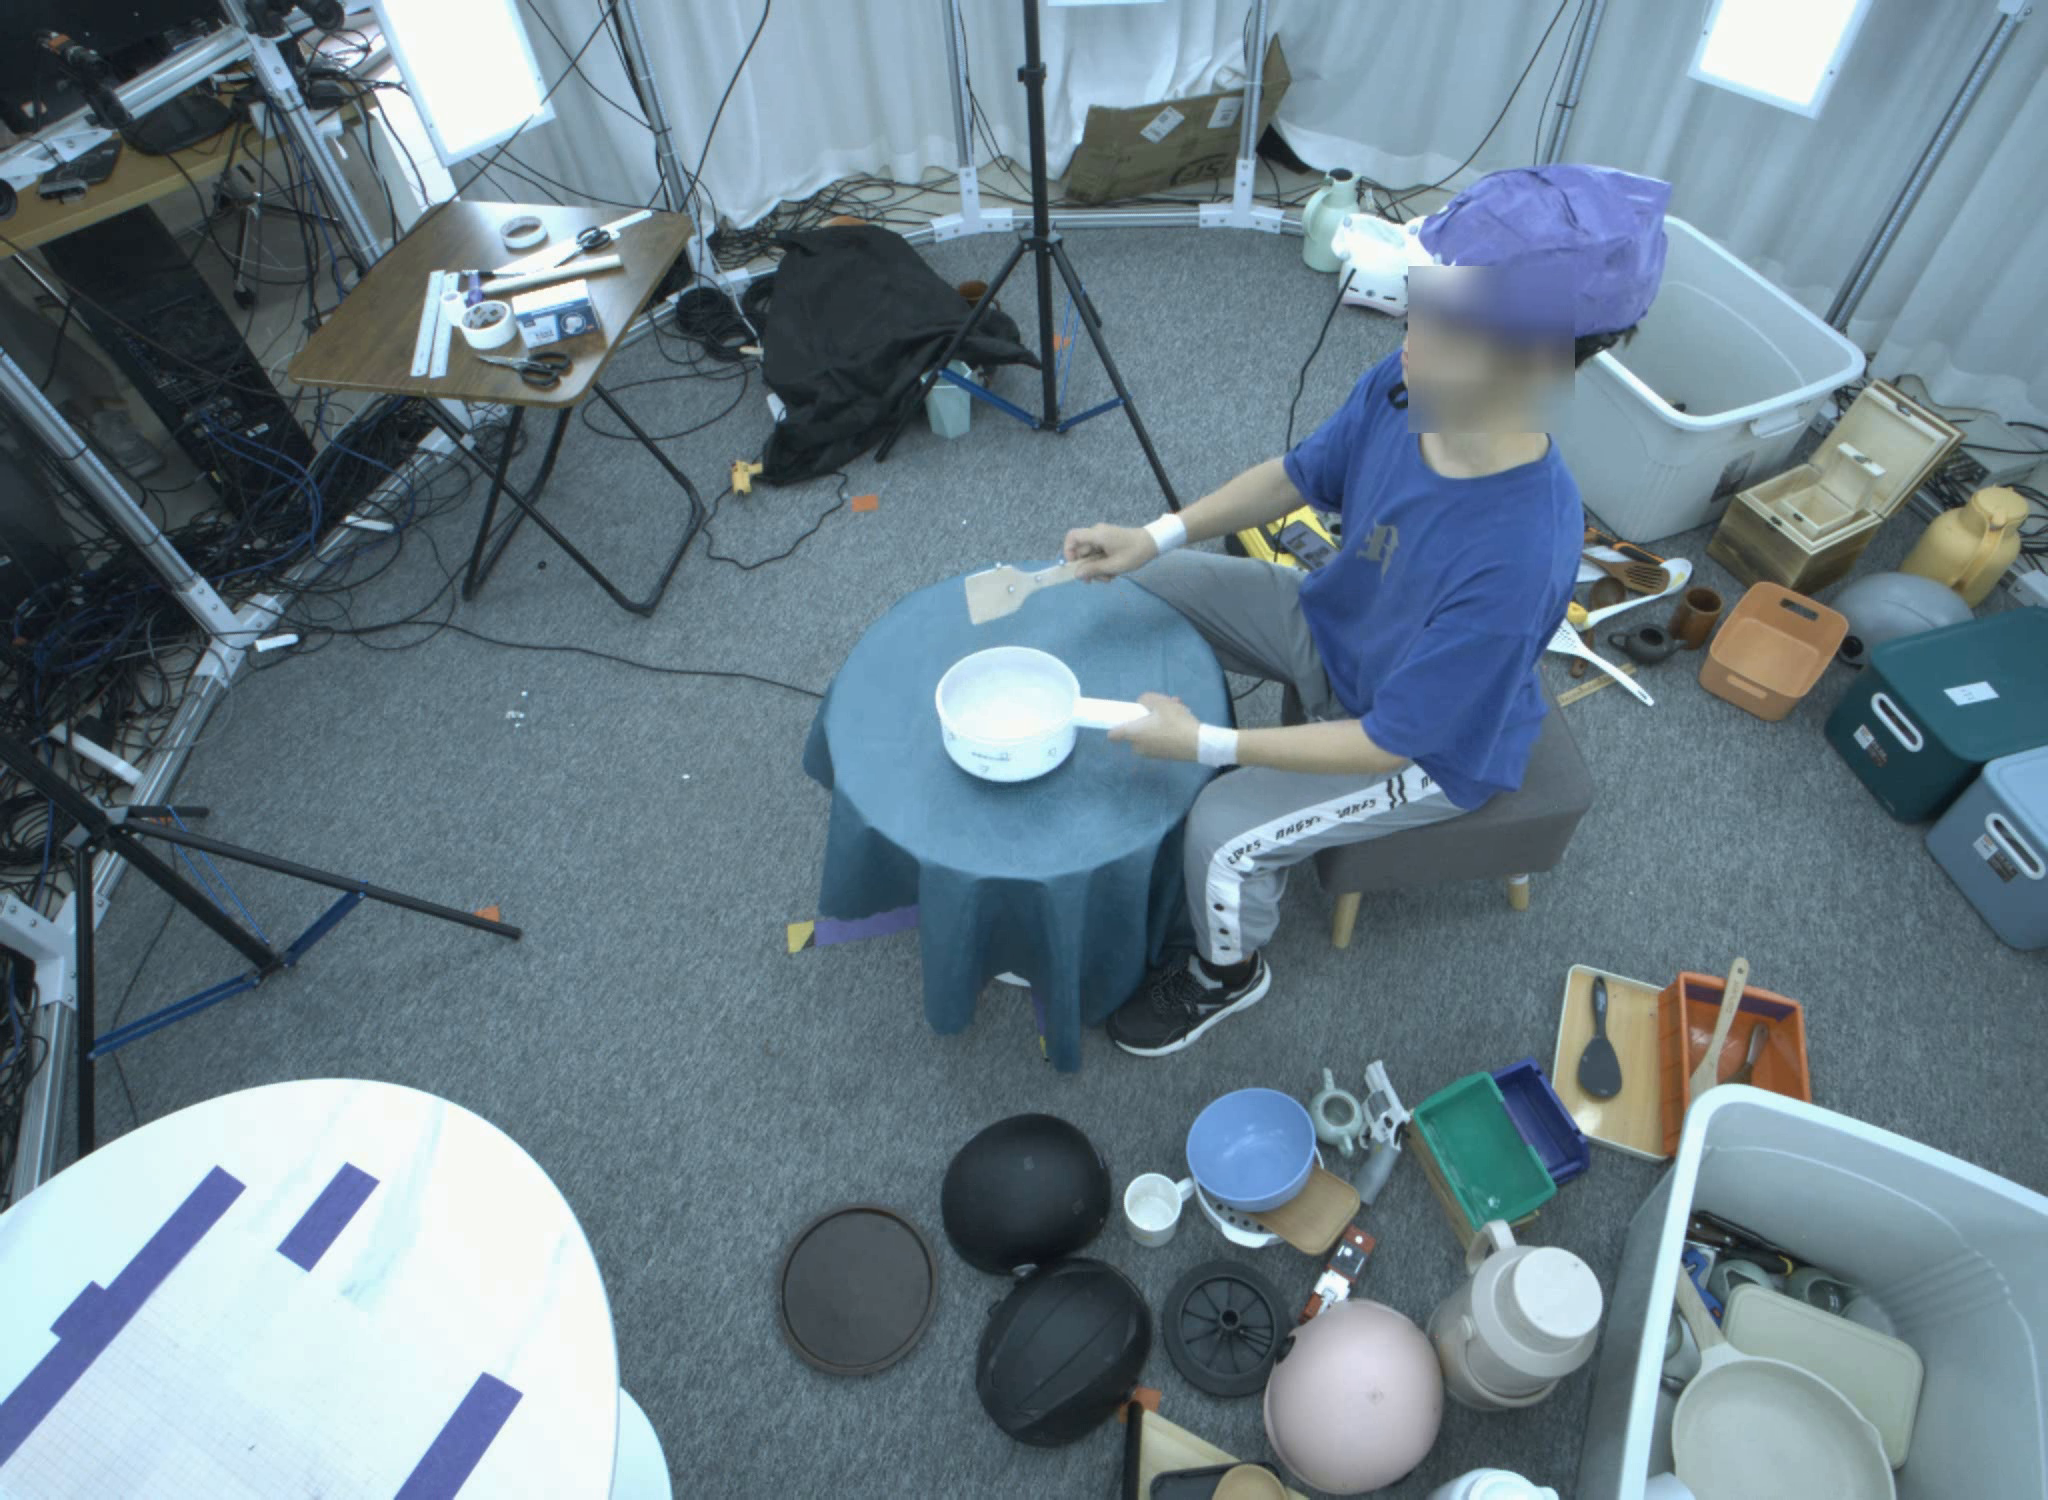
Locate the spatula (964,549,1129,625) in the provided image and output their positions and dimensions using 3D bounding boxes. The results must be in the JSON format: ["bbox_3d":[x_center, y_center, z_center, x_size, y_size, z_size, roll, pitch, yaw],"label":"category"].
[{"bbox_3d":[0.038,-0.254,1.814,0.297,0.073,0.010,-20,21,-30],"label":"spatula"}]

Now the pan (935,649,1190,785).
[{"bbox_3d":[0.054,-0.033,1.729,0.353,0.103,0.200,7,45,8],"label":"pan"}]
